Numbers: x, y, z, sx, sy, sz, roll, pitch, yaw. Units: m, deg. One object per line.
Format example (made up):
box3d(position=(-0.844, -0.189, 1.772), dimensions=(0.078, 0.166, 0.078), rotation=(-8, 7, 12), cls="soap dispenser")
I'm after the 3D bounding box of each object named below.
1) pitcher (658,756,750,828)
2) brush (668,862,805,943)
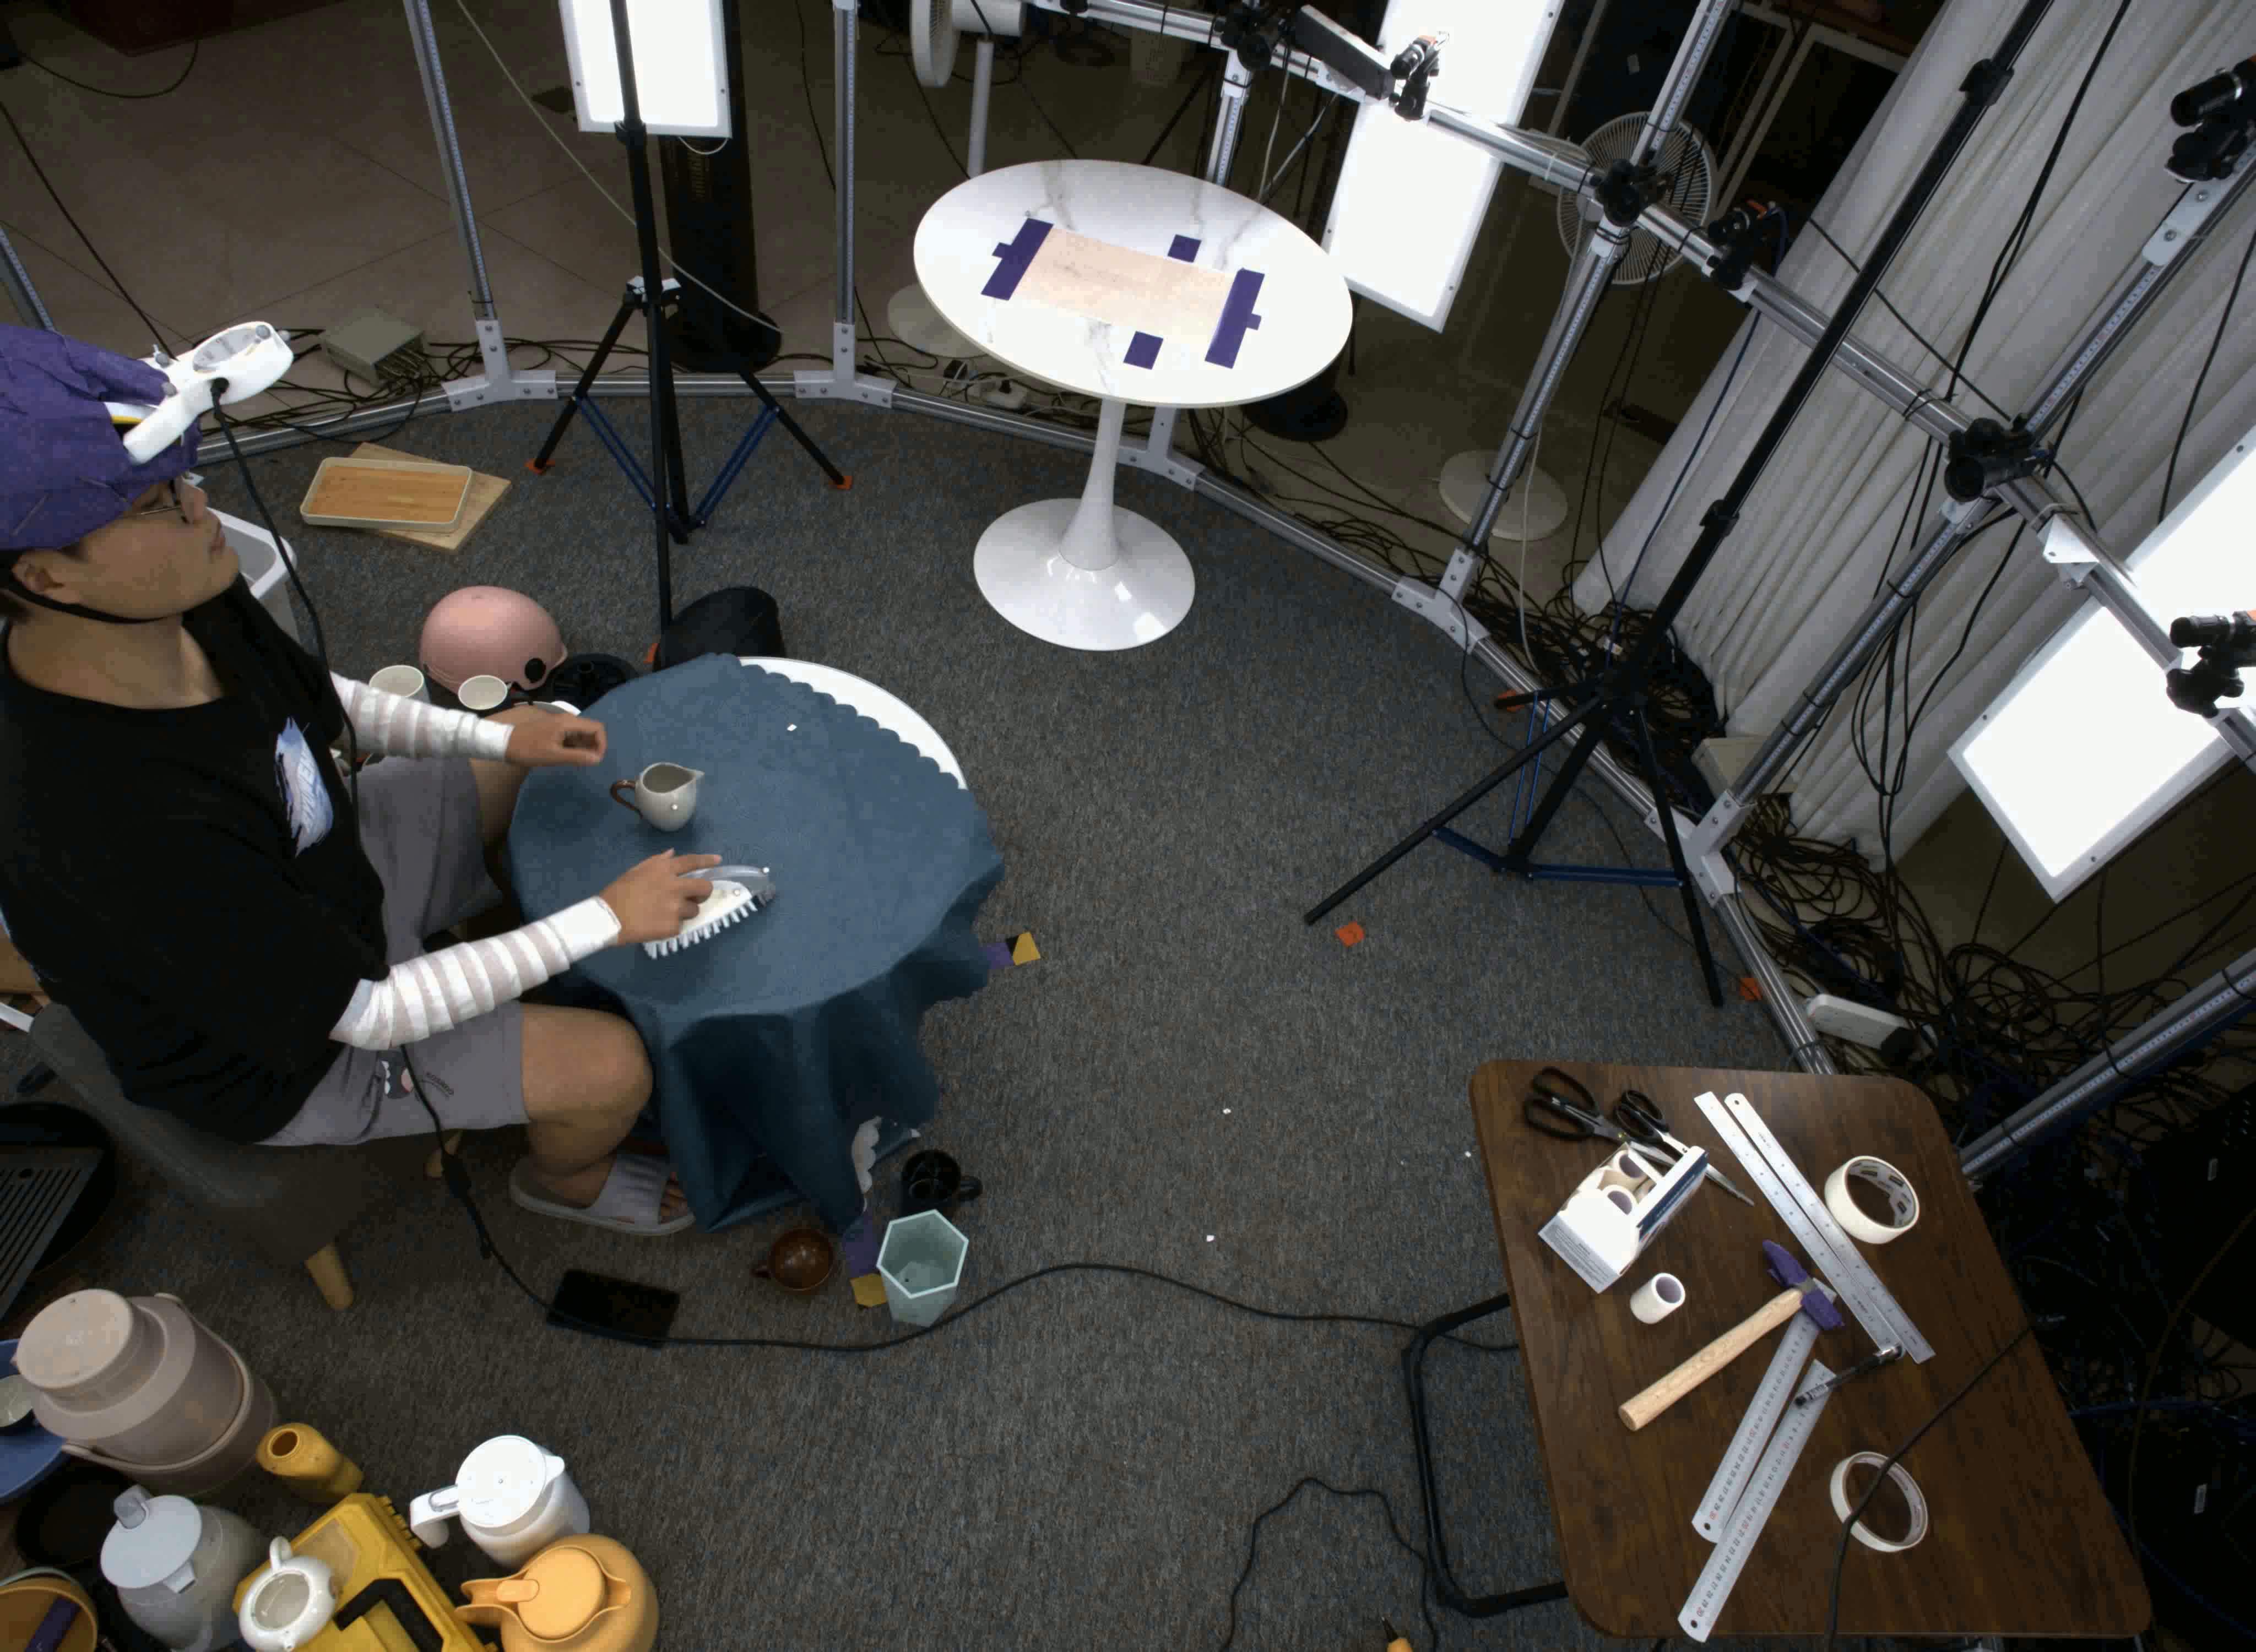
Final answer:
box3d(position=(-0.551, -0.045, 1.681), dimensions=(0.119, 0.090, 0.074), rotation=(1, 49, -14), cls="pitcher")
box3d(position=(-0.482, 0.076, 1.602), dimensions=(0.177, 0.096, 0.060), rotation=(-16, 59, -29), cls="brush")
